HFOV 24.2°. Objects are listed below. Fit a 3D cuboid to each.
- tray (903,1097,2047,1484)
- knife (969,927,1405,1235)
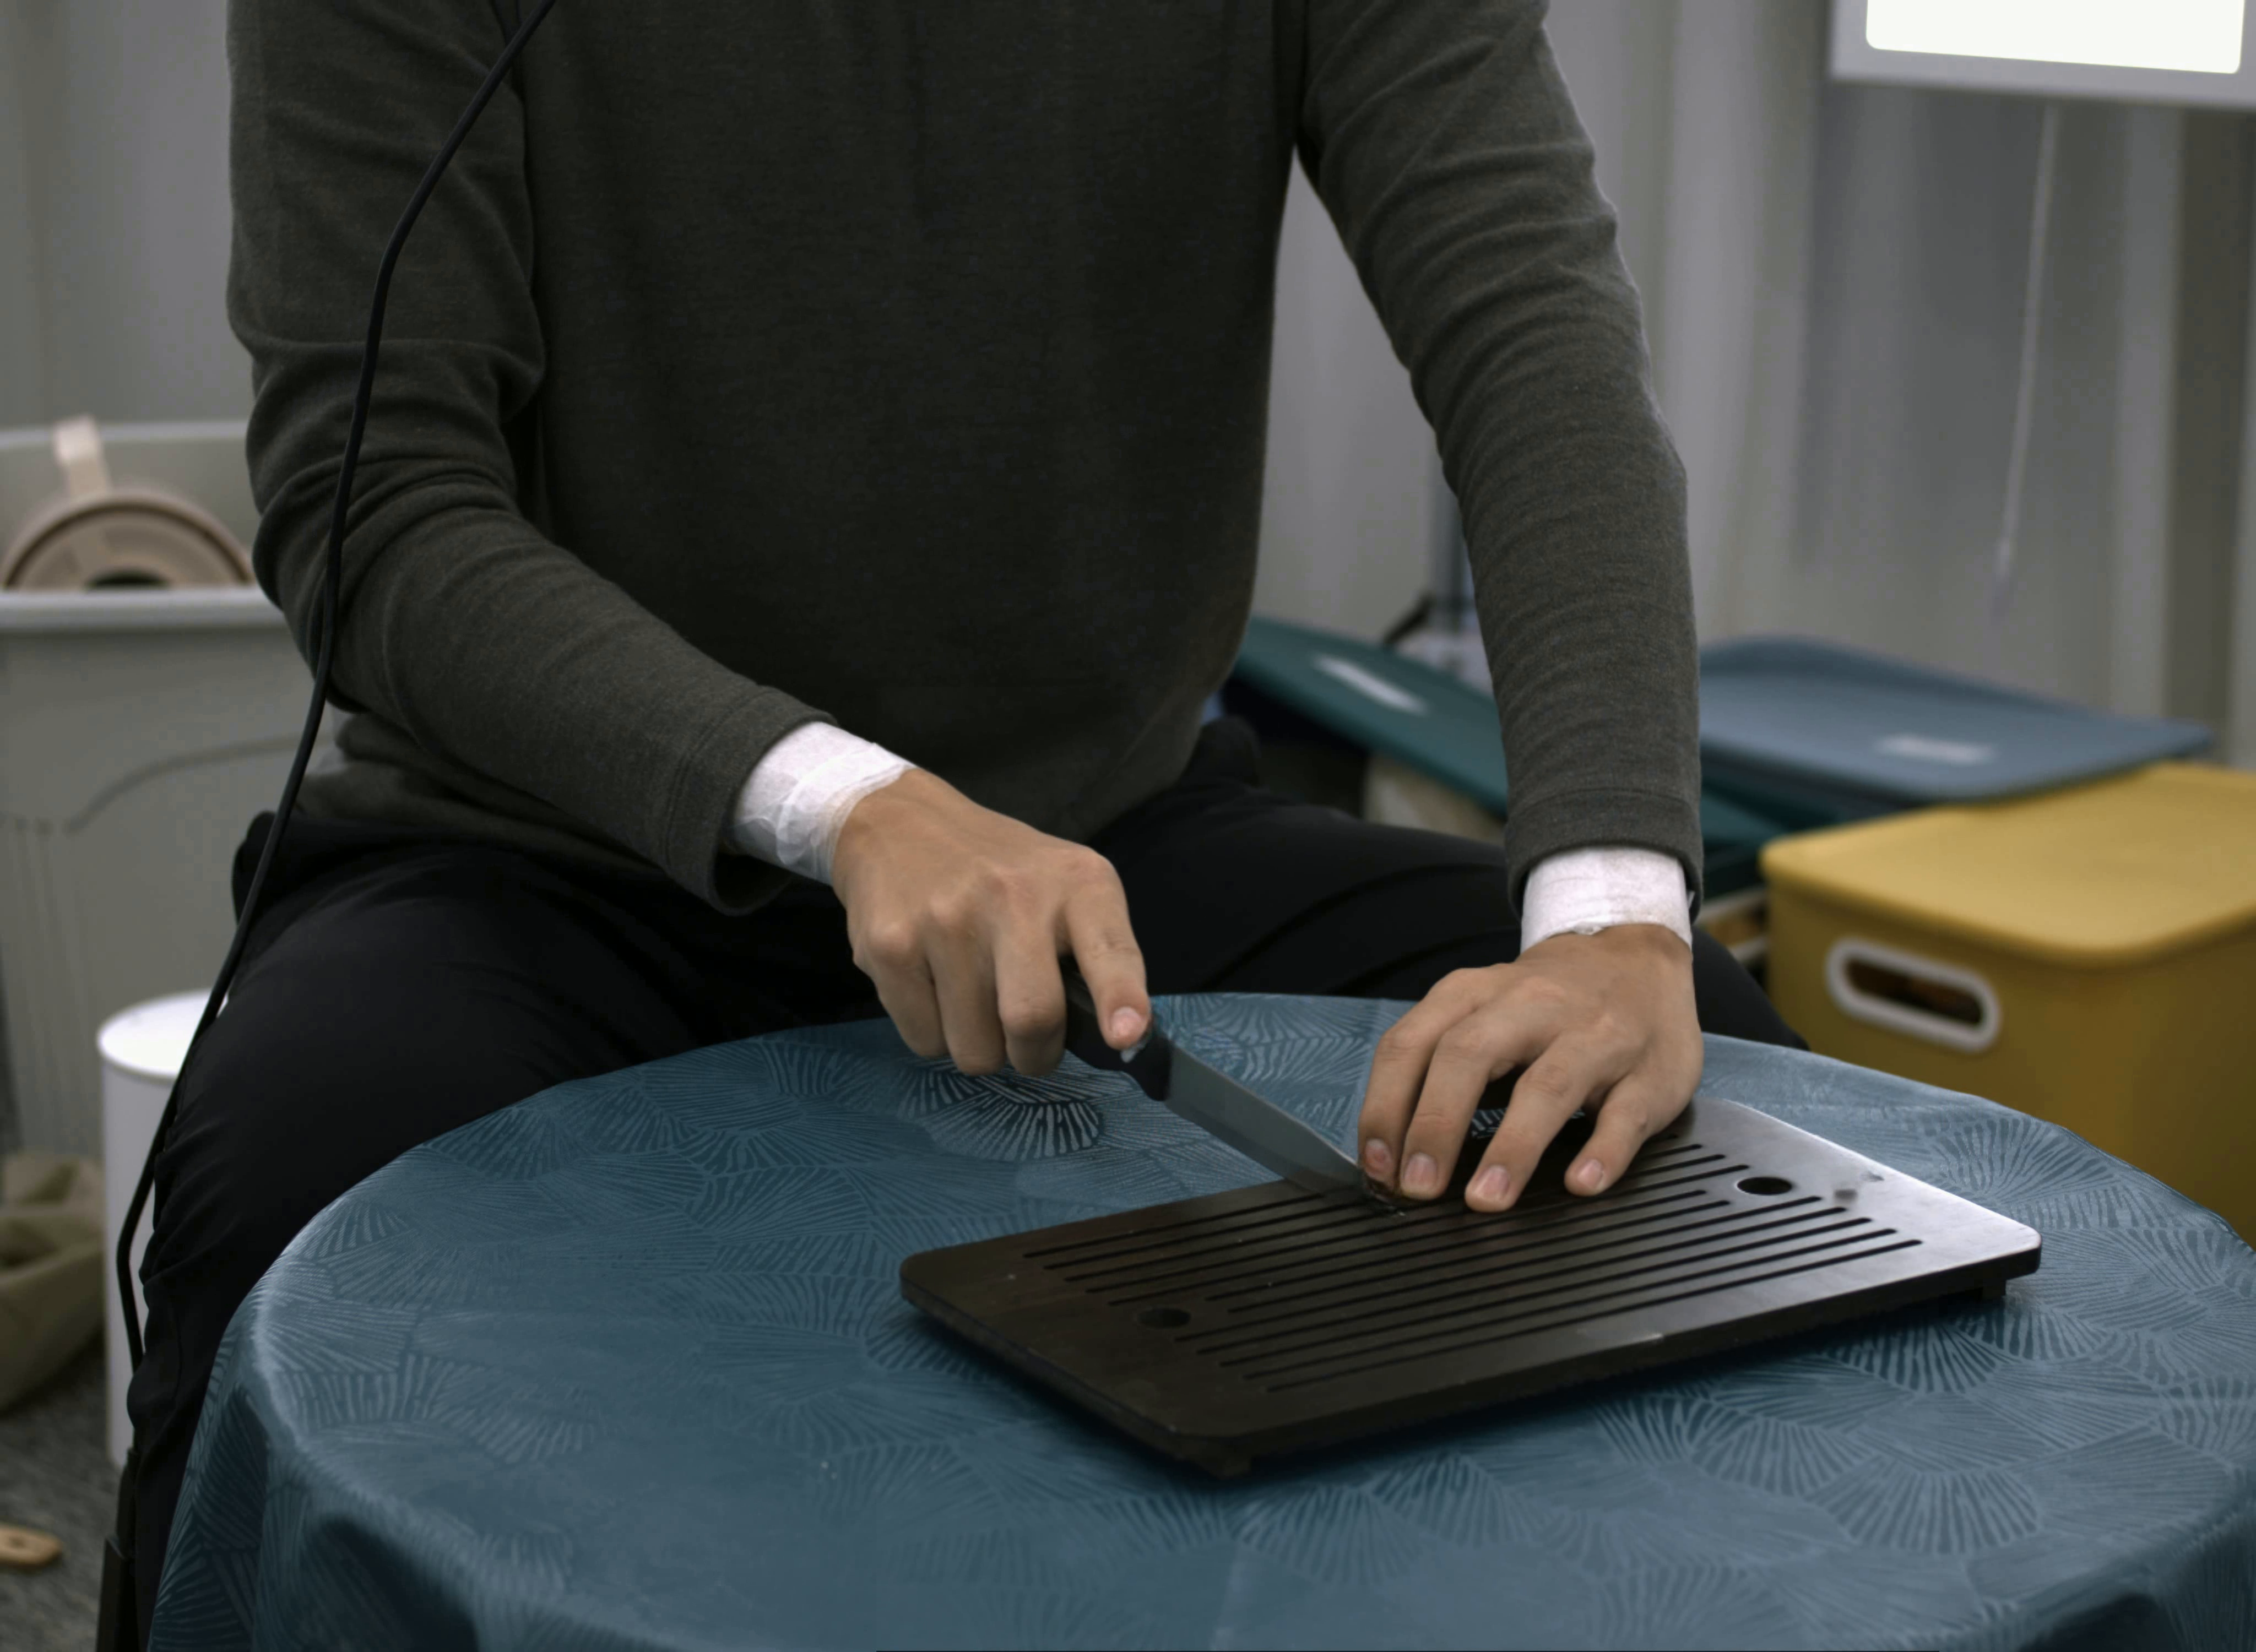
[{"bbox_3d":[0.102,0.131,1.527,0.307,0.019,0.168,-9,17,-32],"label":"tray"},{"bbox_3d":[0.017,0.077,1.627,0.016,0.024,0.235,0,19,-35],"label":"knife"}]
